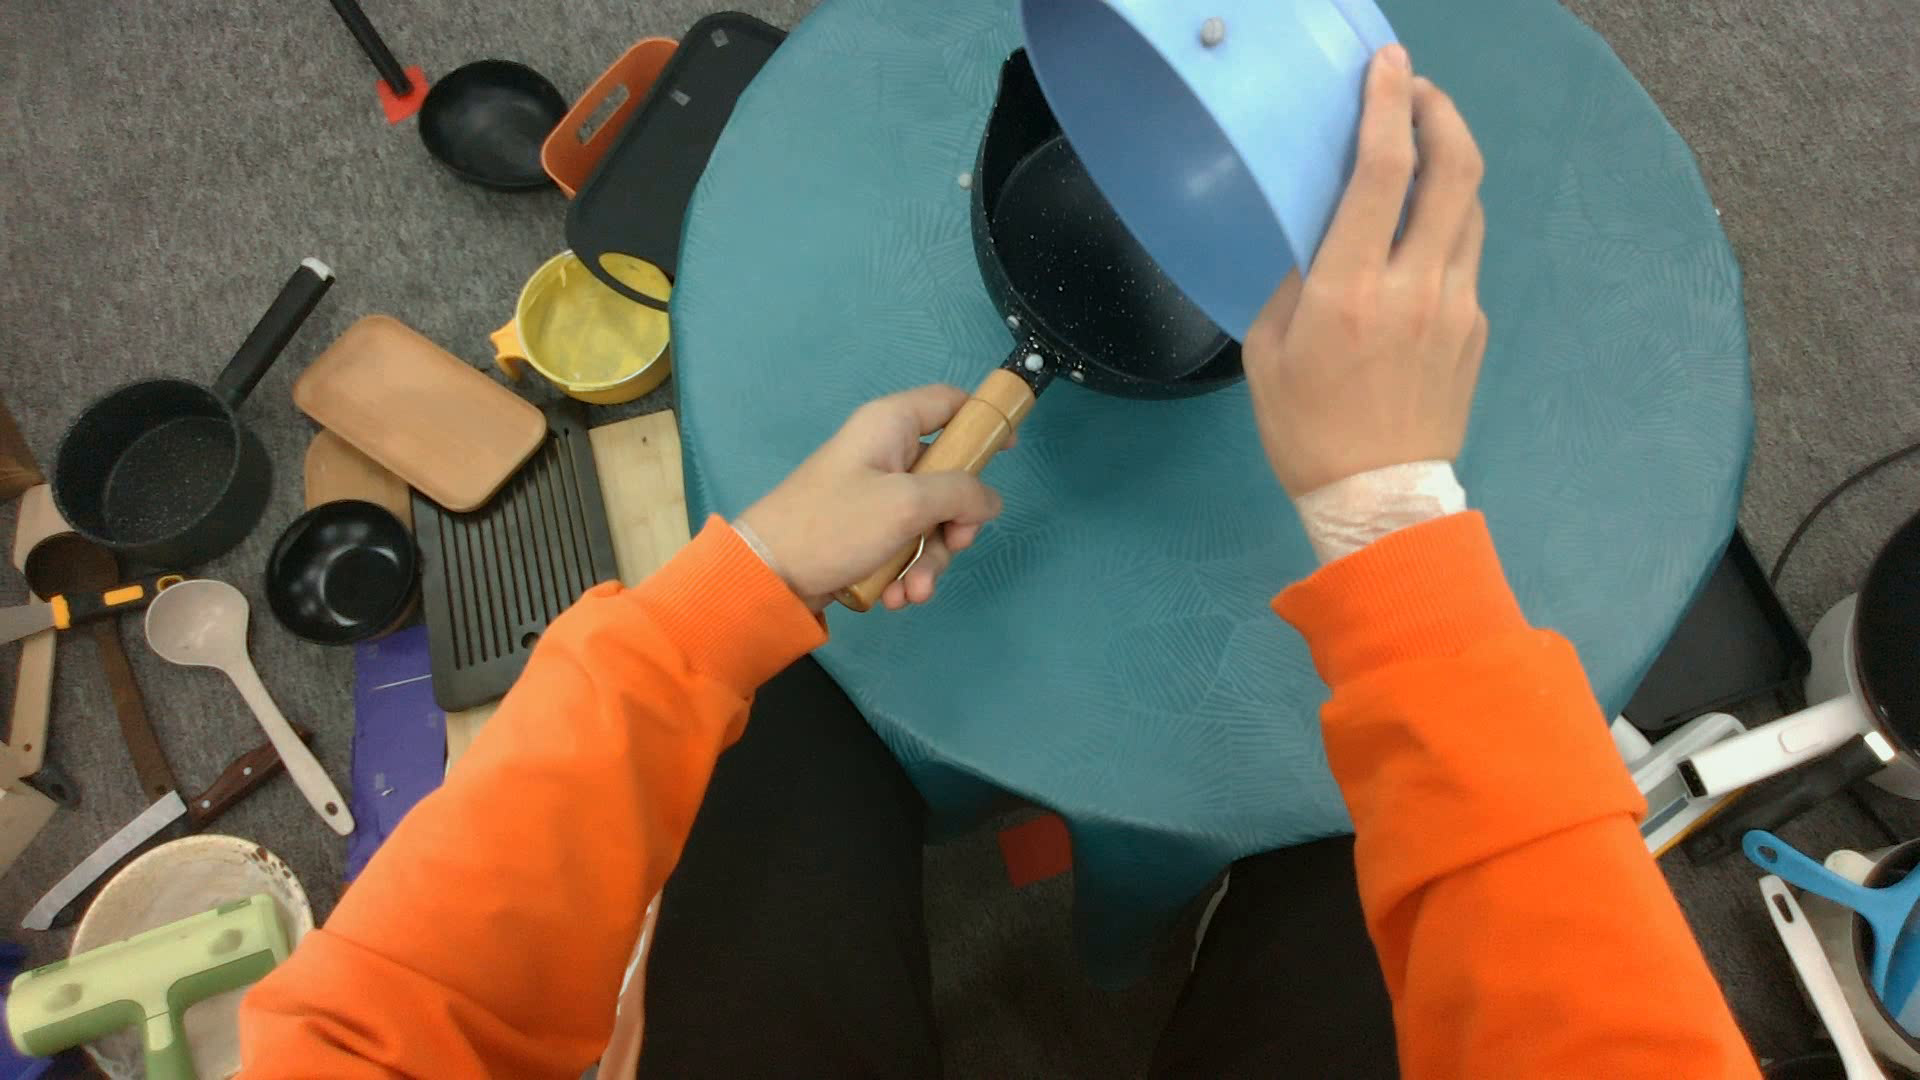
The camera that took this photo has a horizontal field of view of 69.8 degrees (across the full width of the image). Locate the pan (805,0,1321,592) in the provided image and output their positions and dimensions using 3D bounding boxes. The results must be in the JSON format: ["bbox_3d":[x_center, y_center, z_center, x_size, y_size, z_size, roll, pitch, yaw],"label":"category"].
[{"bbox_3d":[0.040,-0.105,0.659,0.207,0.108,0.343,38,76,-4],"label":"pan"}]

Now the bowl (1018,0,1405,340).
[{"bbox_3d":[0.119,-0.190,0.577,0.095,0.196,0.196,-37,75,0],"label":"bowl"}]
